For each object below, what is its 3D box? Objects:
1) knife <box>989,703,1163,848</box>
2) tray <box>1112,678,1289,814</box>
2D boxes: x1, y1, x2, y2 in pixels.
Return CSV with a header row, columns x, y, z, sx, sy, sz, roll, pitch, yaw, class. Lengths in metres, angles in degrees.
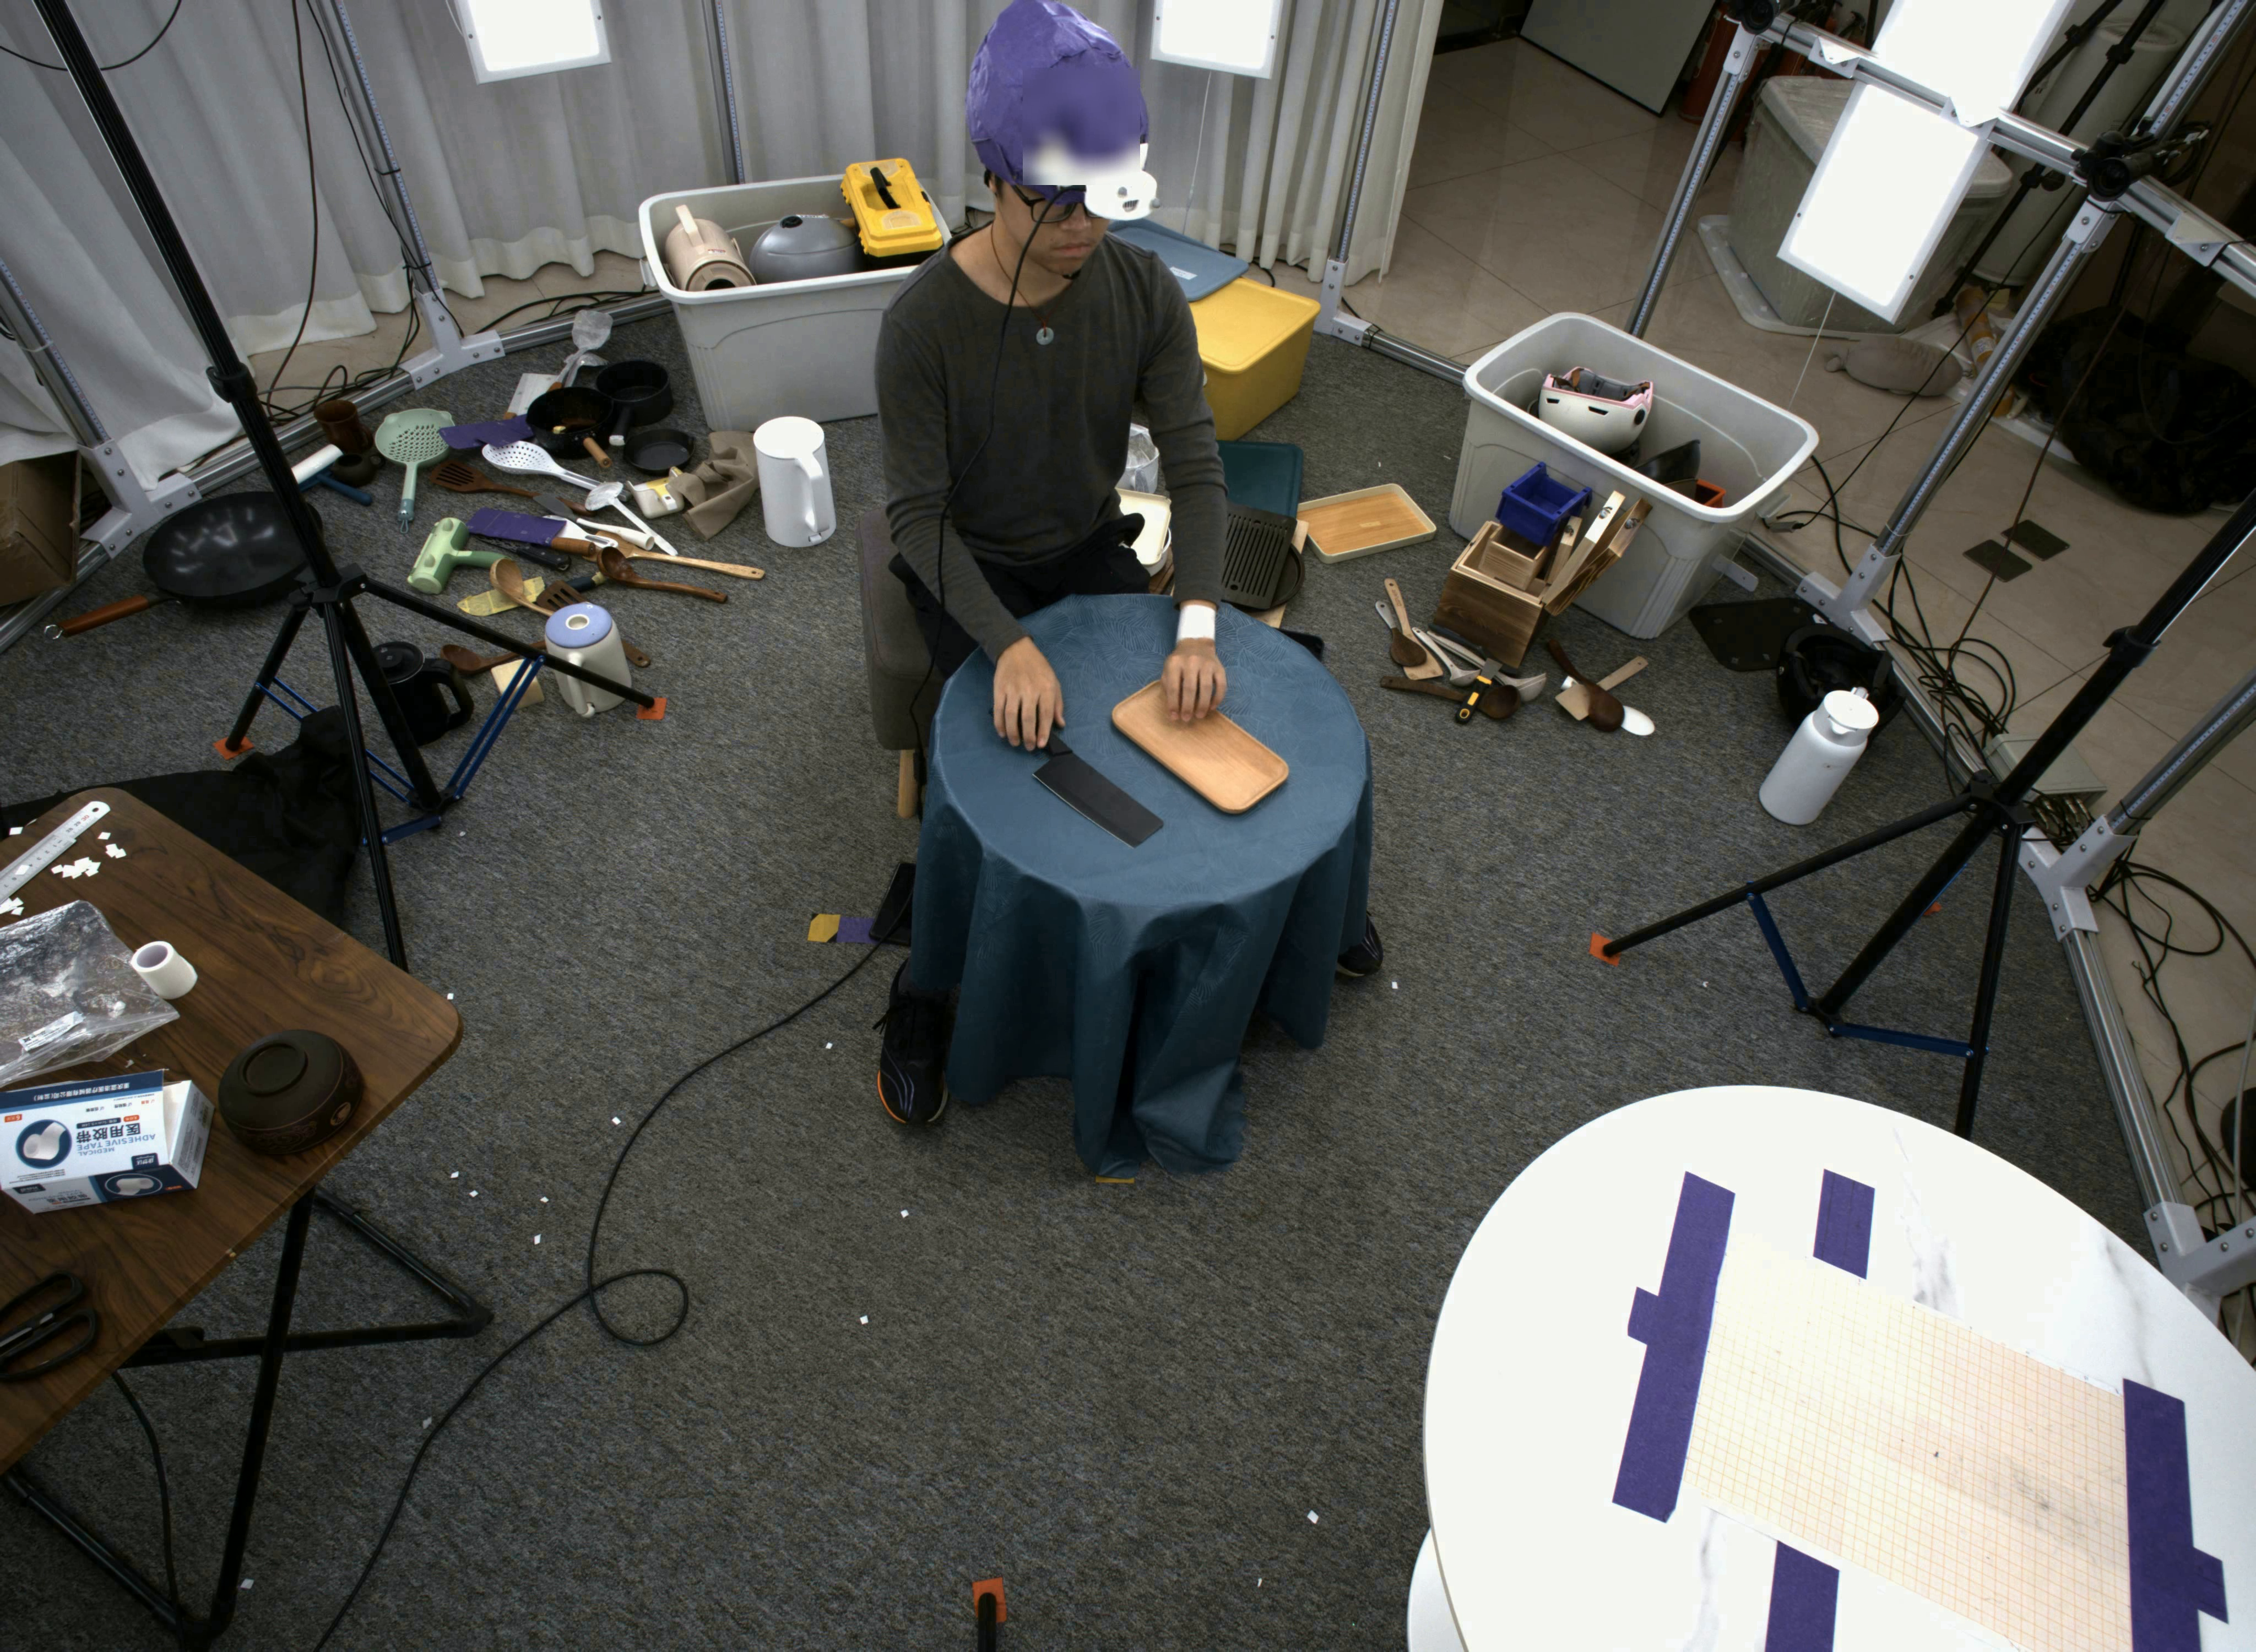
x,y,z,sx,sy,sz,roll,pitch,yaw,class
-0.080,-0.073,1.717,0.081,0.020,0.307,-35,61,-26,knife
0.097,-0.113,1.761,0.131,0.022,0.255,-32,57,-30,tray
